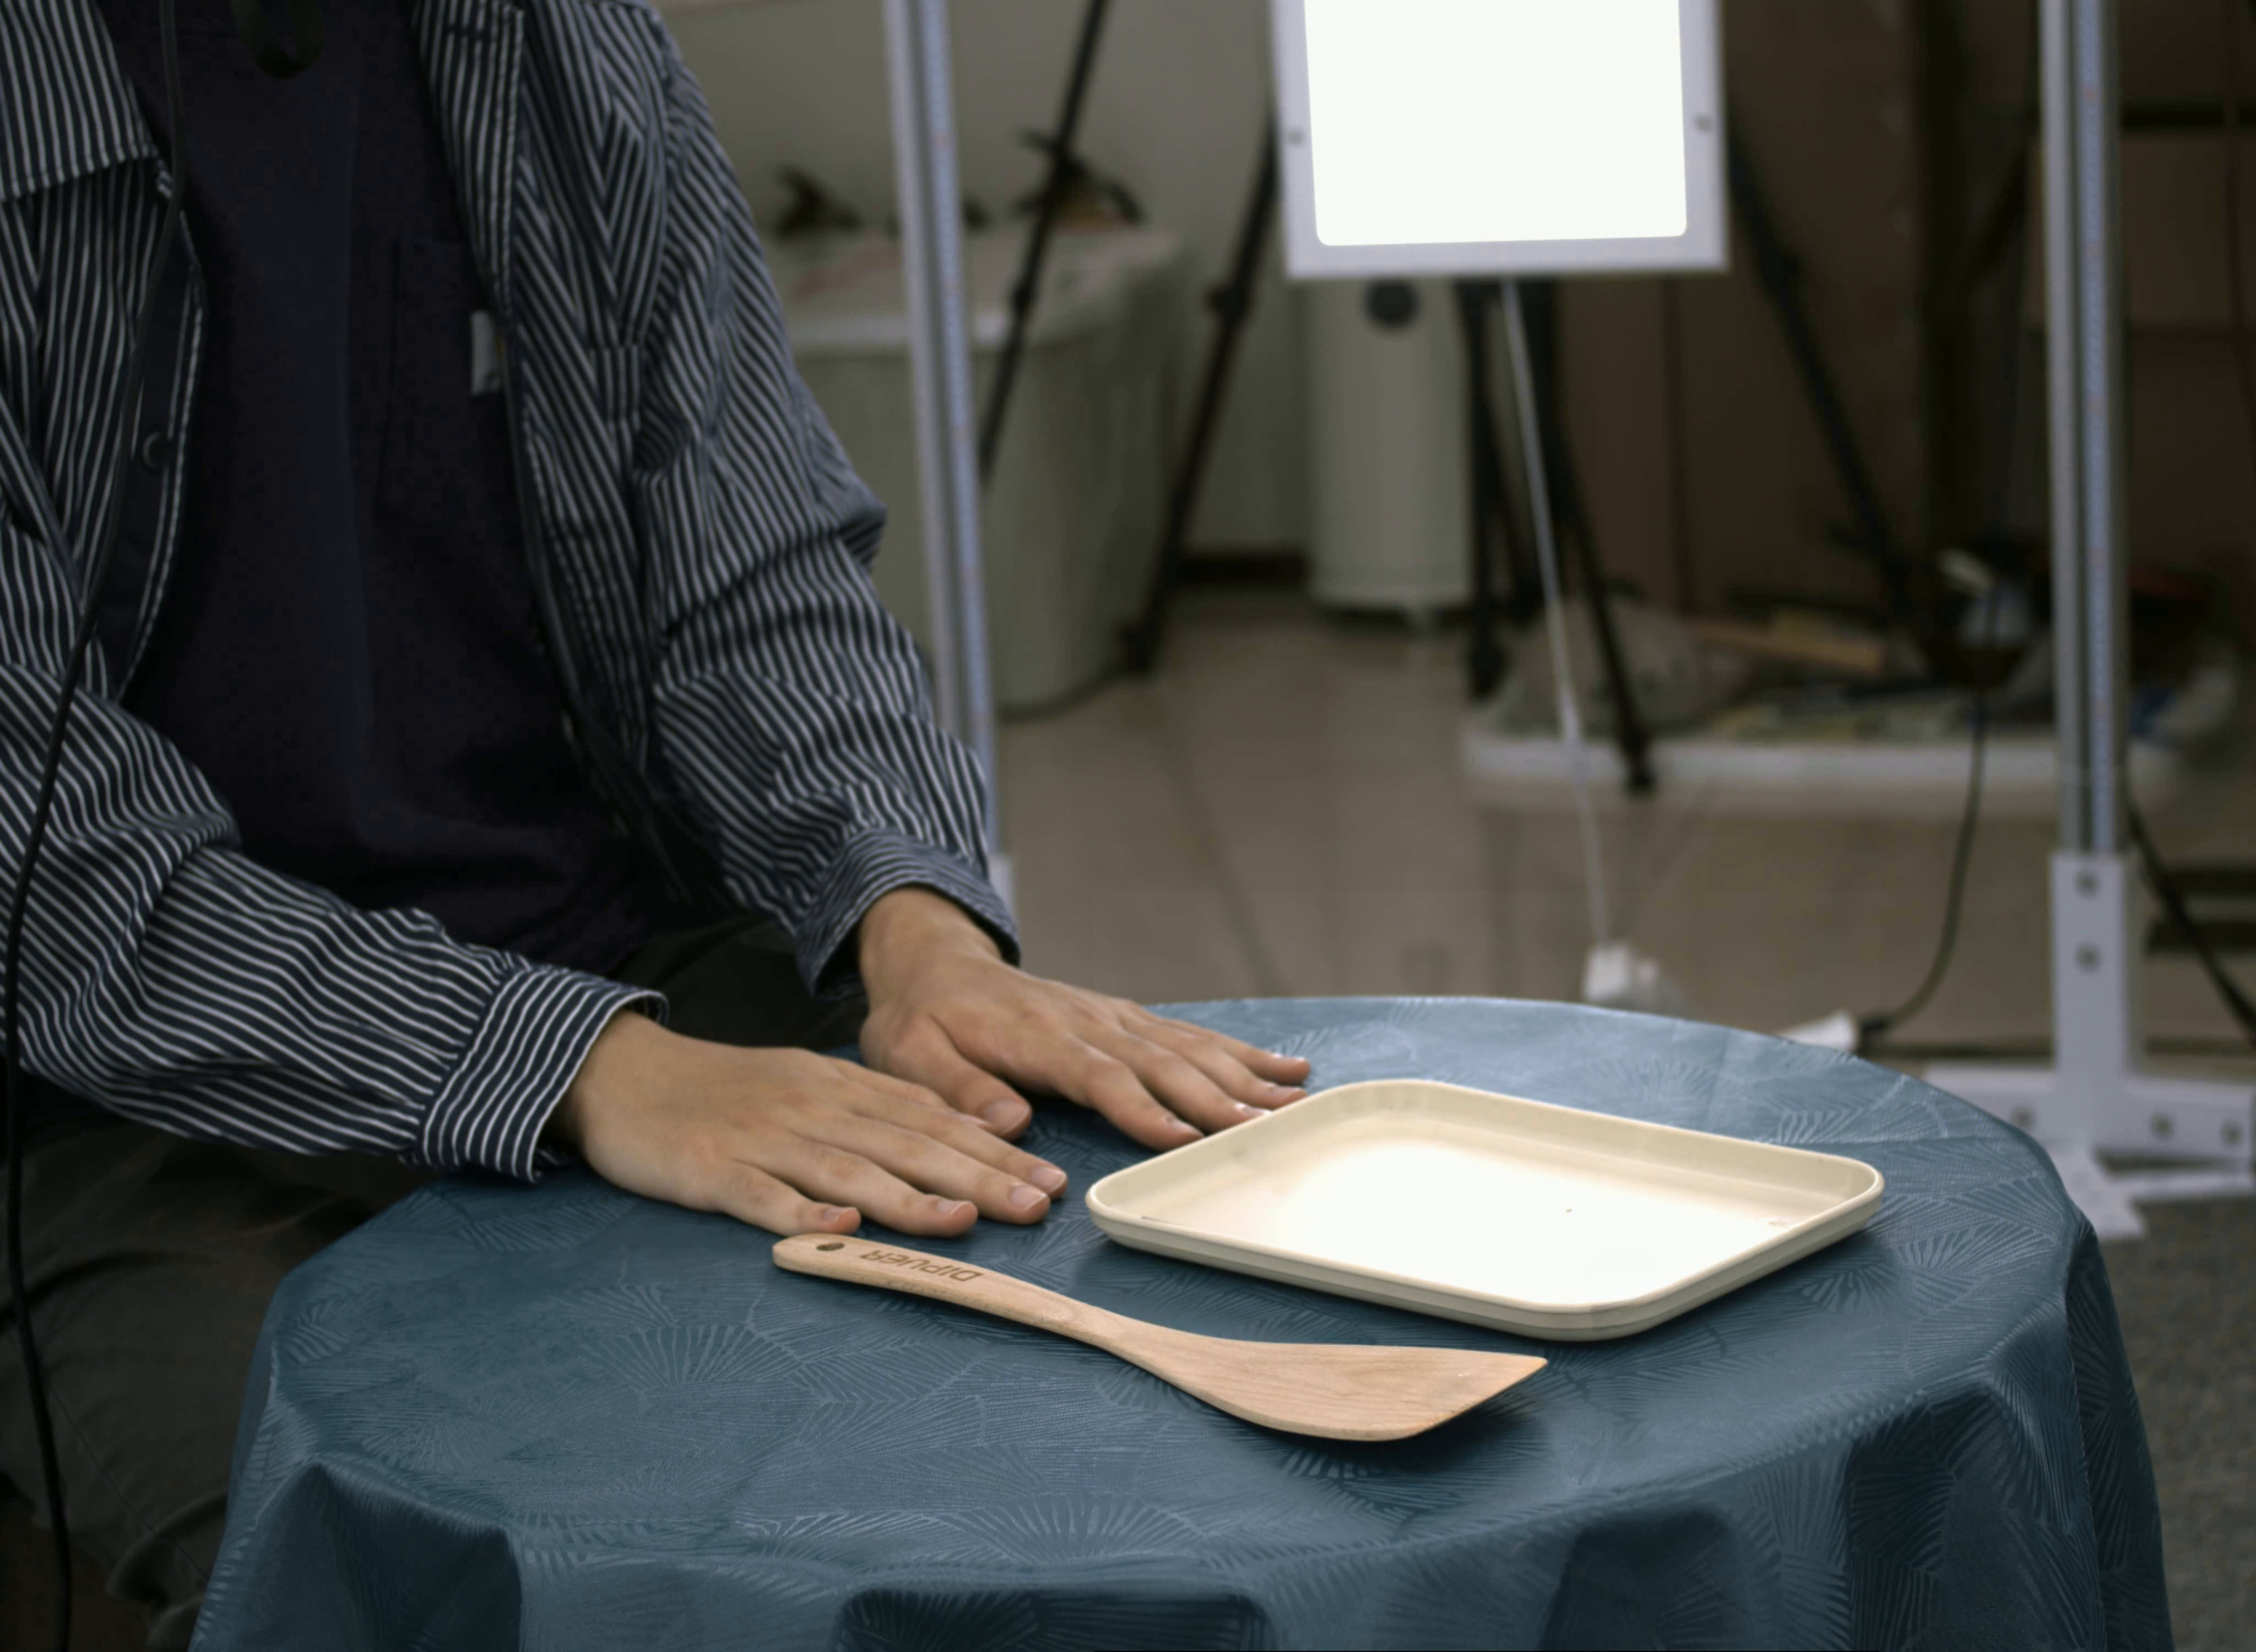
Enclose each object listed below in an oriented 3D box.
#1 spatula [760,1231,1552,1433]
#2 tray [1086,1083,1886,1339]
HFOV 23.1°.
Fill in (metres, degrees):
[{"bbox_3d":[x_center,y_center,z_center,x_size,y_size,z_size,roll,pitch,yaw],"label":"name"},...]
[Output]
[{"bbox_3d":[-0.003,0.155,1.743,0.078,0.016,0.335,-16,18,-42],"label":"spatula"},{"bbox_3d":[0.117,0.126,1.814,0.245,0.017,0.167,8,18,44],"label":"tray"}]
